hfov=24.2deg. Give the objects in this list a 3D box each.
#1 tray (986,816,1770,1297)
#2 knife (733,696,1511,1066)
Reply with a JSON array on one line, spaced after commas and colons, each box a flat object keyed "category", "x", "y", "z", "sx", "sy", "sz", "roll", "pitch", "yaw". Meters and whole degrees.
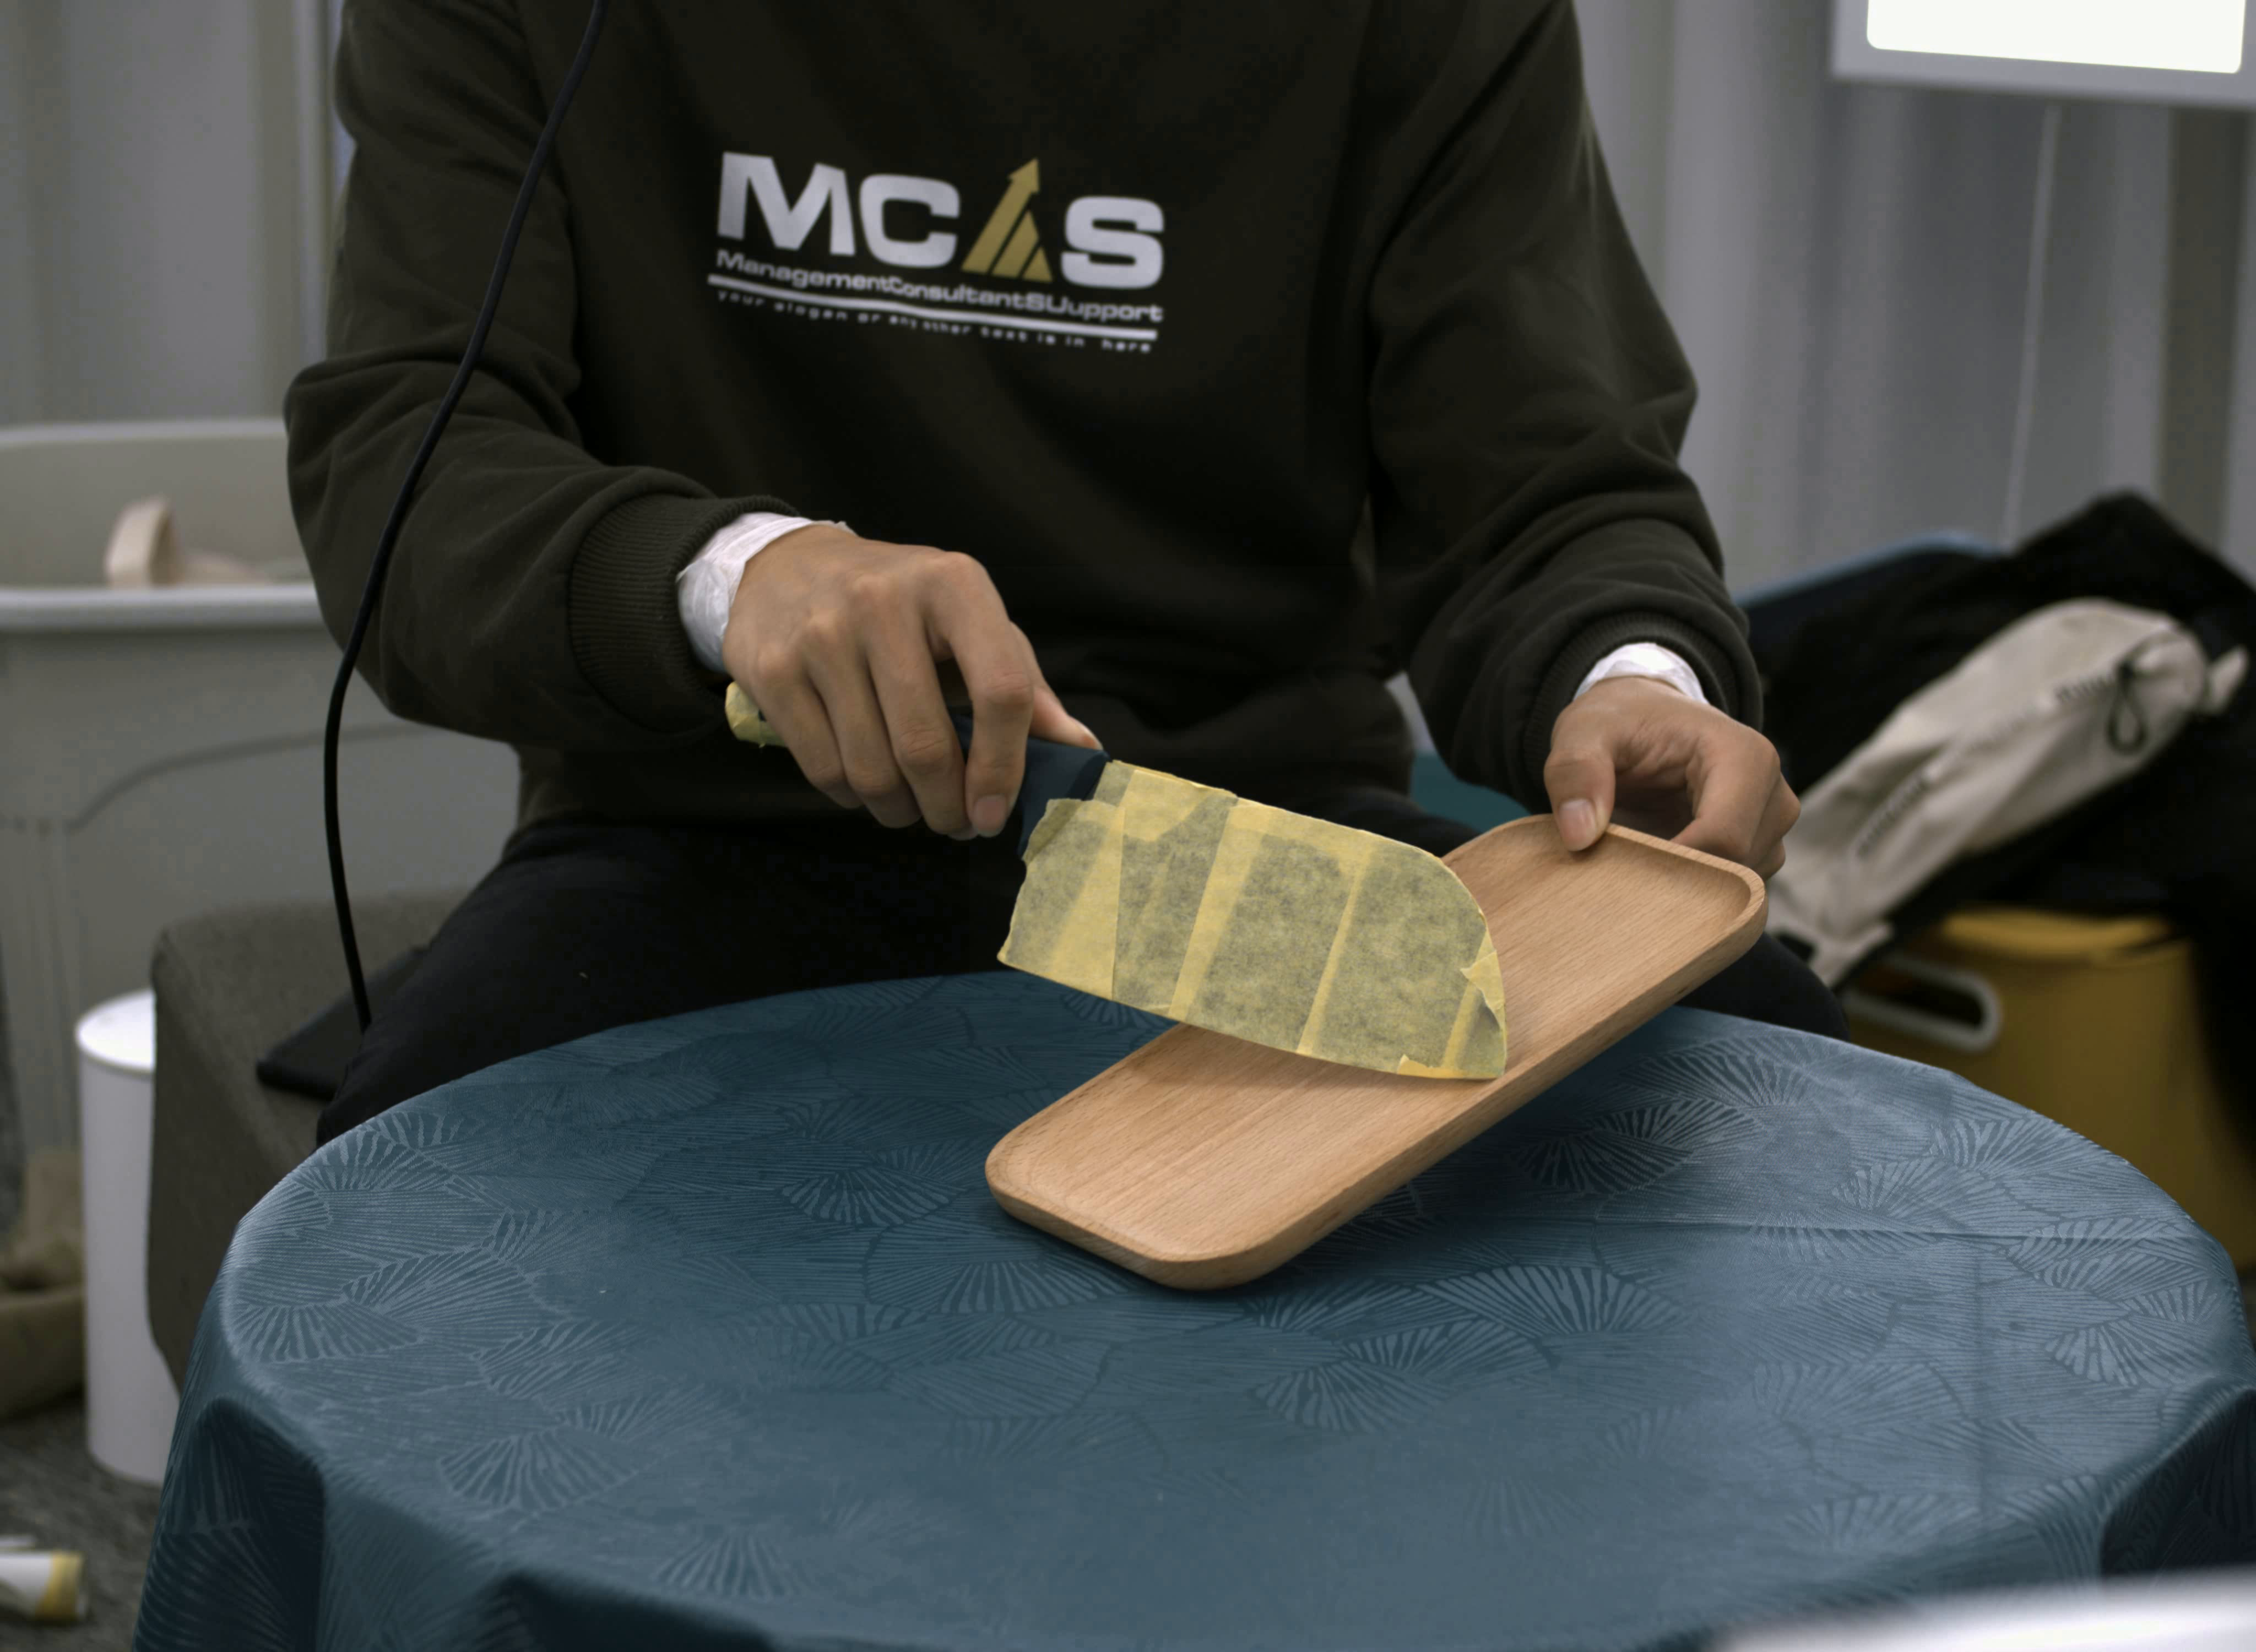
[{"category": "tray", "x": 0.079, "y": 0.068, "z": 1.621, "sx": 0.251, "sy": 0.023, "sz": 0.129, "roll": -32, "pitch": 28, "yaw": -28}, {"category": "knife", "x": -0.007, "y": 0.015, "z": 1.647, "sx": 0.286, "sy": 0.081, "sz": 0.027, "roll": 19, "pitch": -7, "yaw": 26}]
